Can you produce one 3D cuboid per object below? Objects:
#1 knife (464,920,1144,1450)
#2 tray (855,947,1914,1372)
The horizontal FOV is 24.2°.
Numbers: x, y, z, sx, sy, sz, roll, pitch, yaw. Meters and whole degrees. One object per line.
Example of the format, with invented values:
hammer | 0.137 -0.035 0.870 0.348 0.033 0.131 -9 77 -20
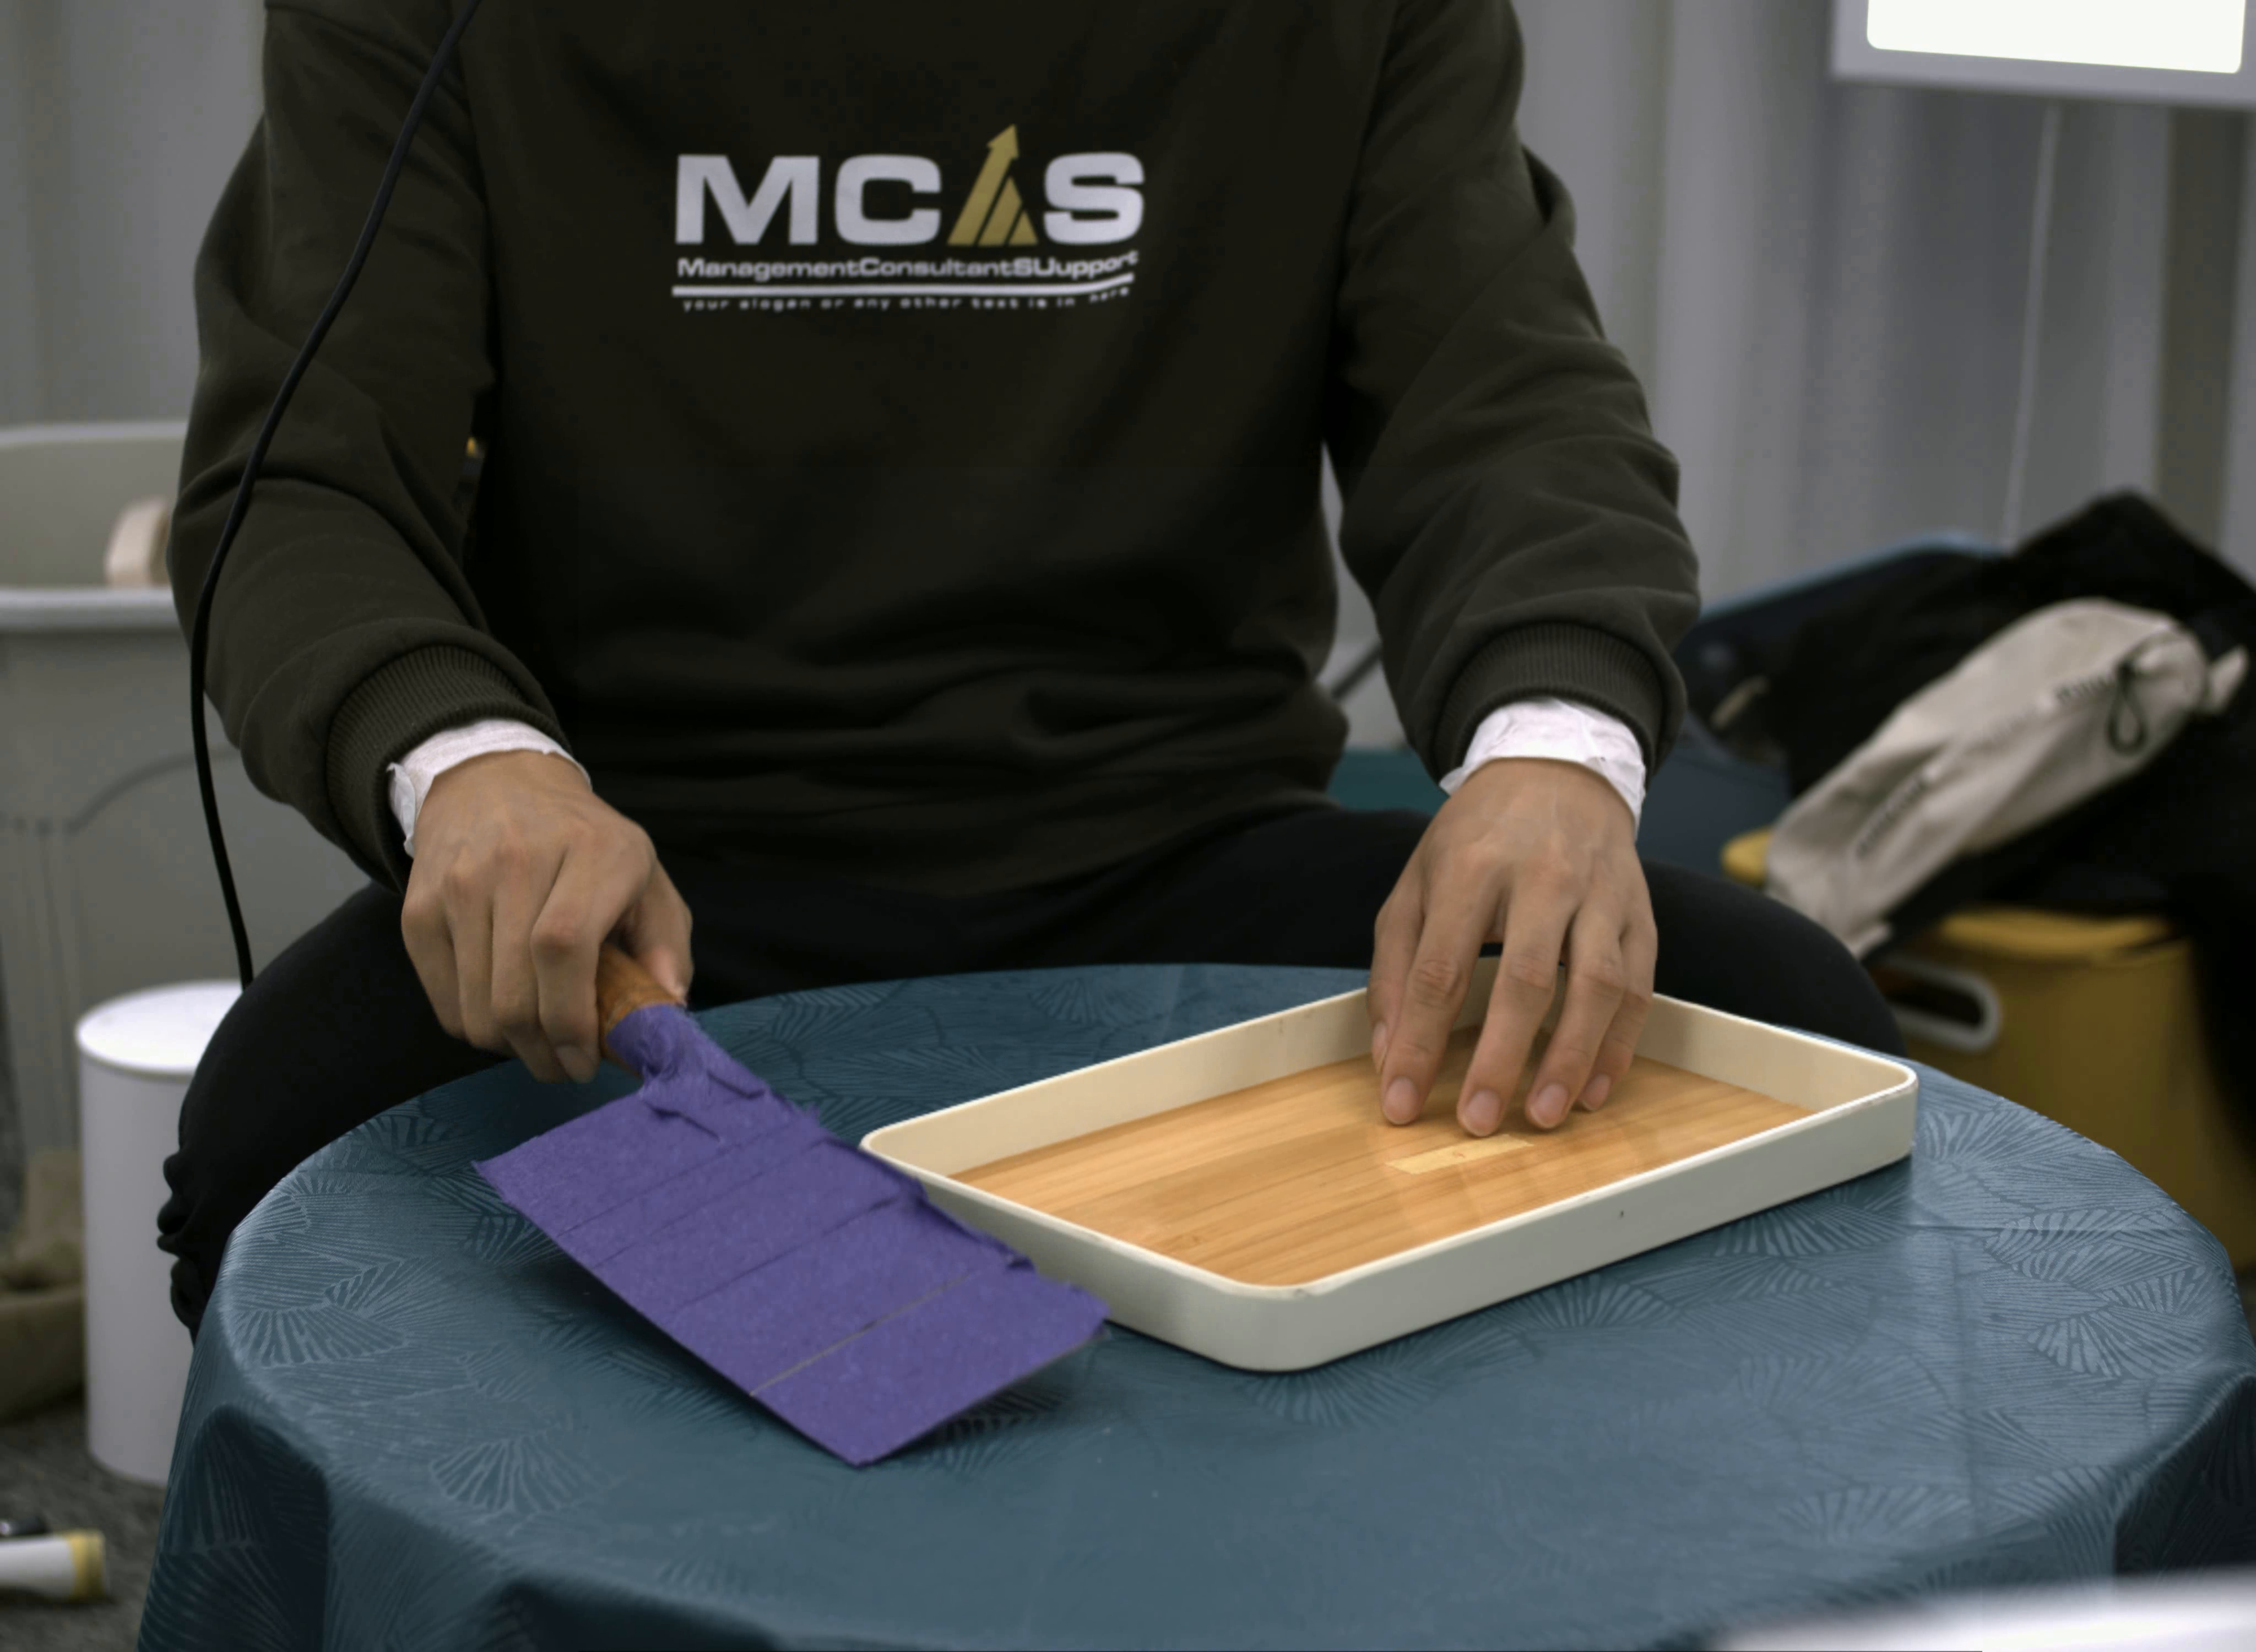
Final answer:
knife | -0.128 0.100 1.534 0.104 0.032 0.311 -23 31 -31
tray | 0.082 0.098 1.627 0.302 0.027 0.189 -14 22 -42
